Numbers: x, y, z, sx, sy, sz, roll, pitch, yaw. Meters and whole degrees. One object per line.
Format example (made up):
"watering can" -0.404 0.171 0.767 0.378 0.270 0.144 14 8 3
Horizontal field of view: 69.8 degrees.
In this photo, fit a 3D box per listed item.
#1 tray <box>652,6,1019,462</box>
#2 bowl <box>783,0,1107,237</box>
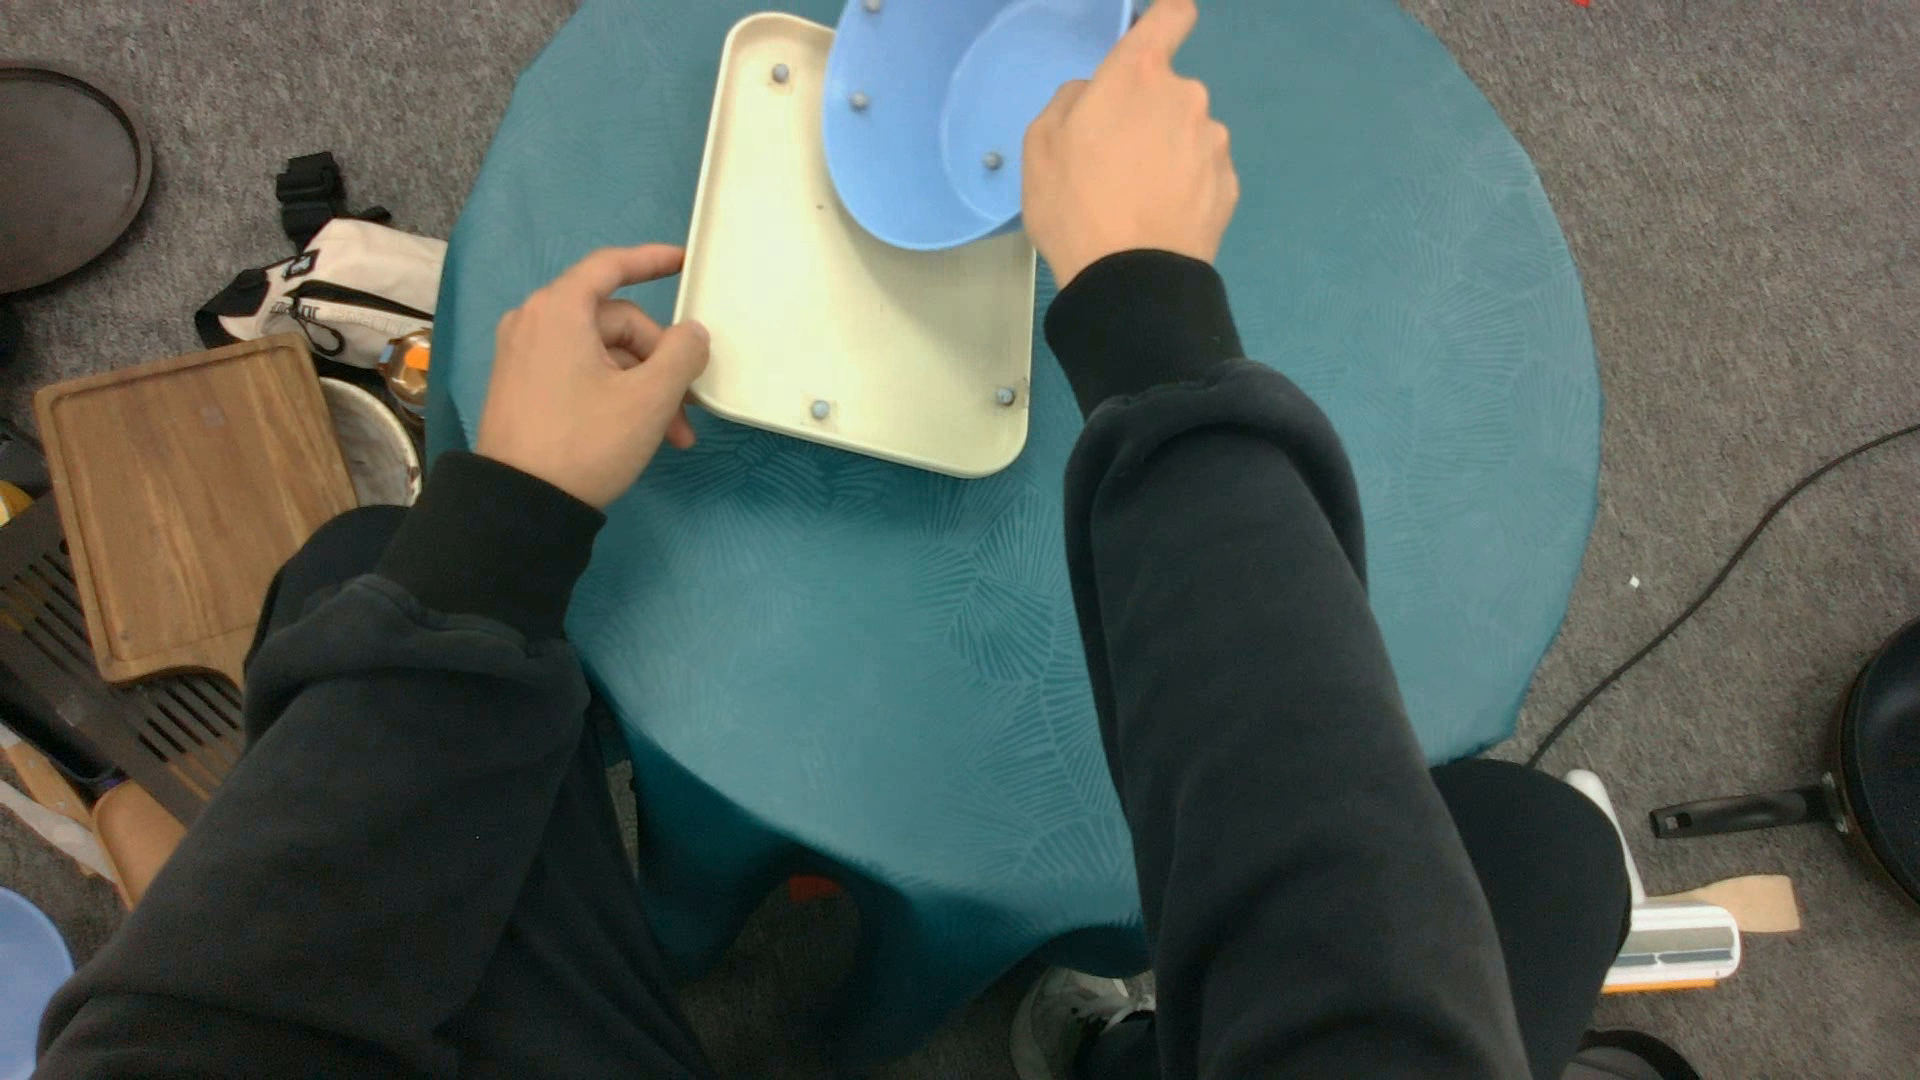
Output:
"tray" -0.053 -0.152 0.672 0.171 0.017 0.240 12 62 -17
"bowl" 0.002 -0.219 0.645 0.070 0.175 0.176 12 61 -53
